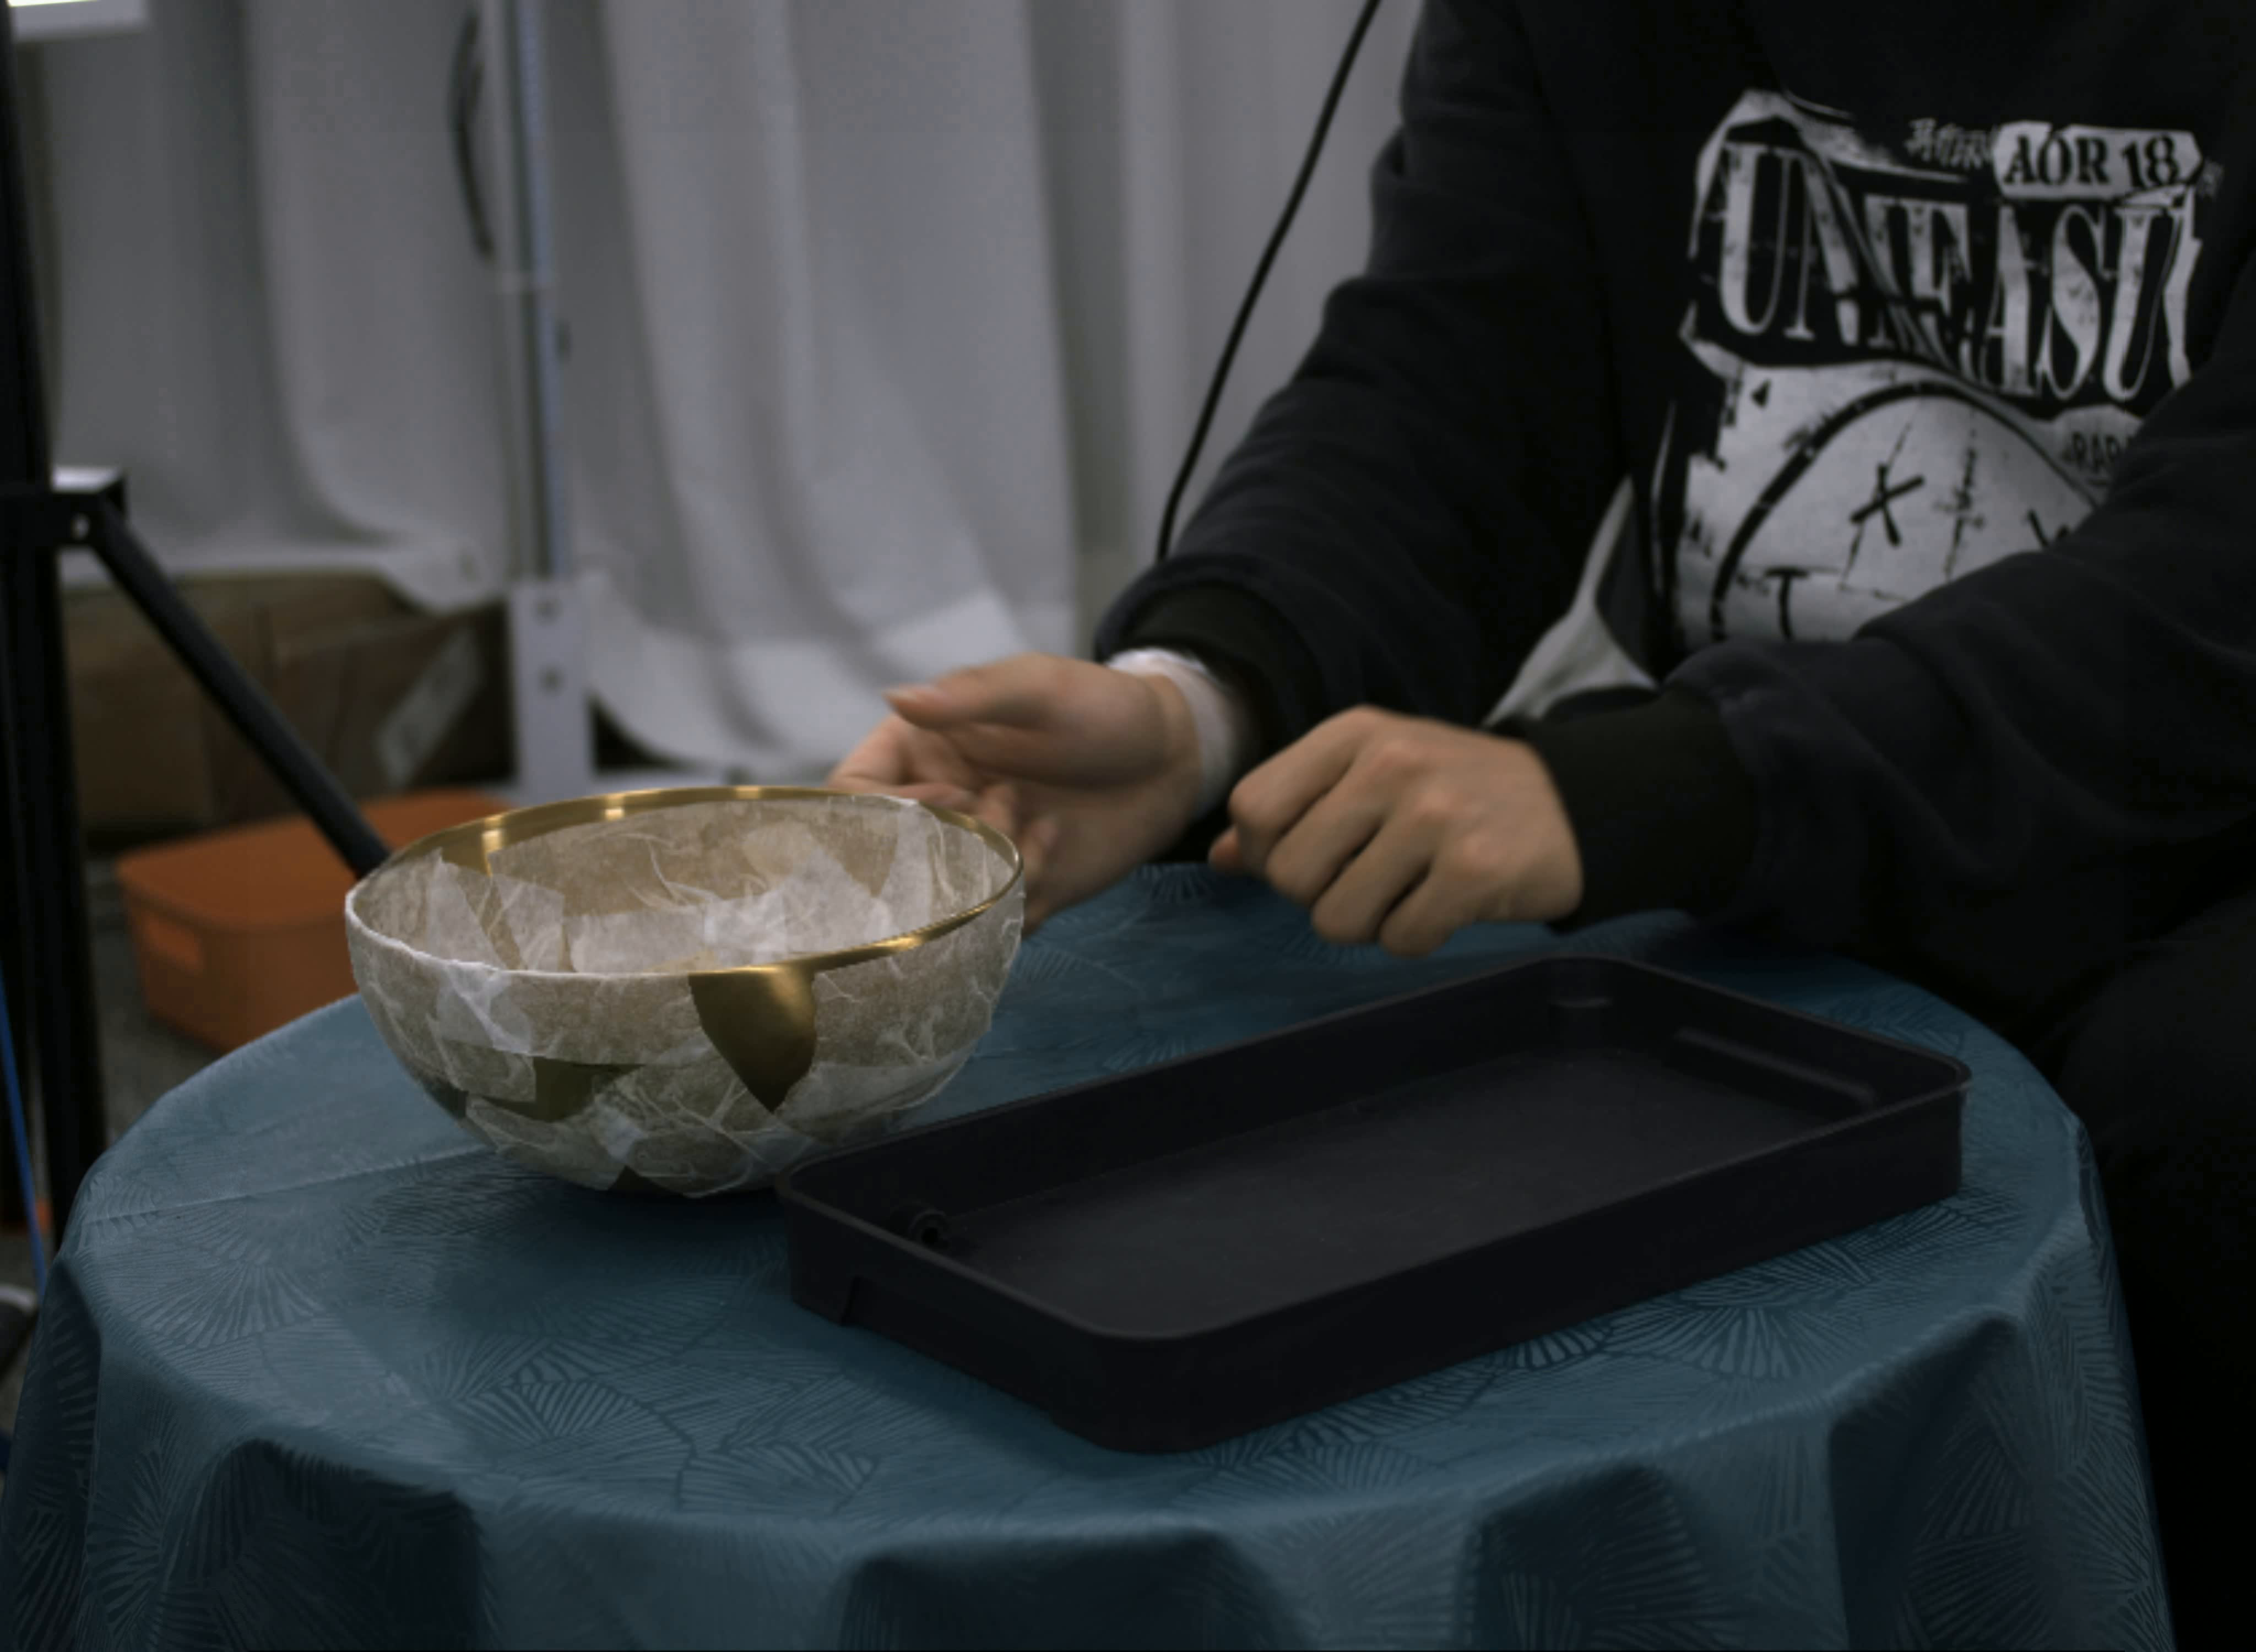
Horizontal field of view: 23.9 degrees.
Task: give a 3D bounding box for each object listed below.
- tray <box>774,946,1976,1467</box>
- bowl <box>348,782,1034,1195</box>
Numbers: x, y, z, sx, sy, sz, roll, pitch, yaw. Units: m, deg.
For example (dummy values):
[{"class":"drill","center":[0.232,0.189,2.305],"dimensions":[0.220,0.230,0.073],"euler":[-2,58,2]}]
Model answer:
[{"class":"tray","center":[0.073,0.102,1.506],"dimensions":[0.311,0.037,0.188],"euler":[-14,20,-33]},{"class":"bowl","center":[-0.125,0.056,1.593],"dimensions":[0.213,0.094,0.216],"euler":[-4,15,0]}]
